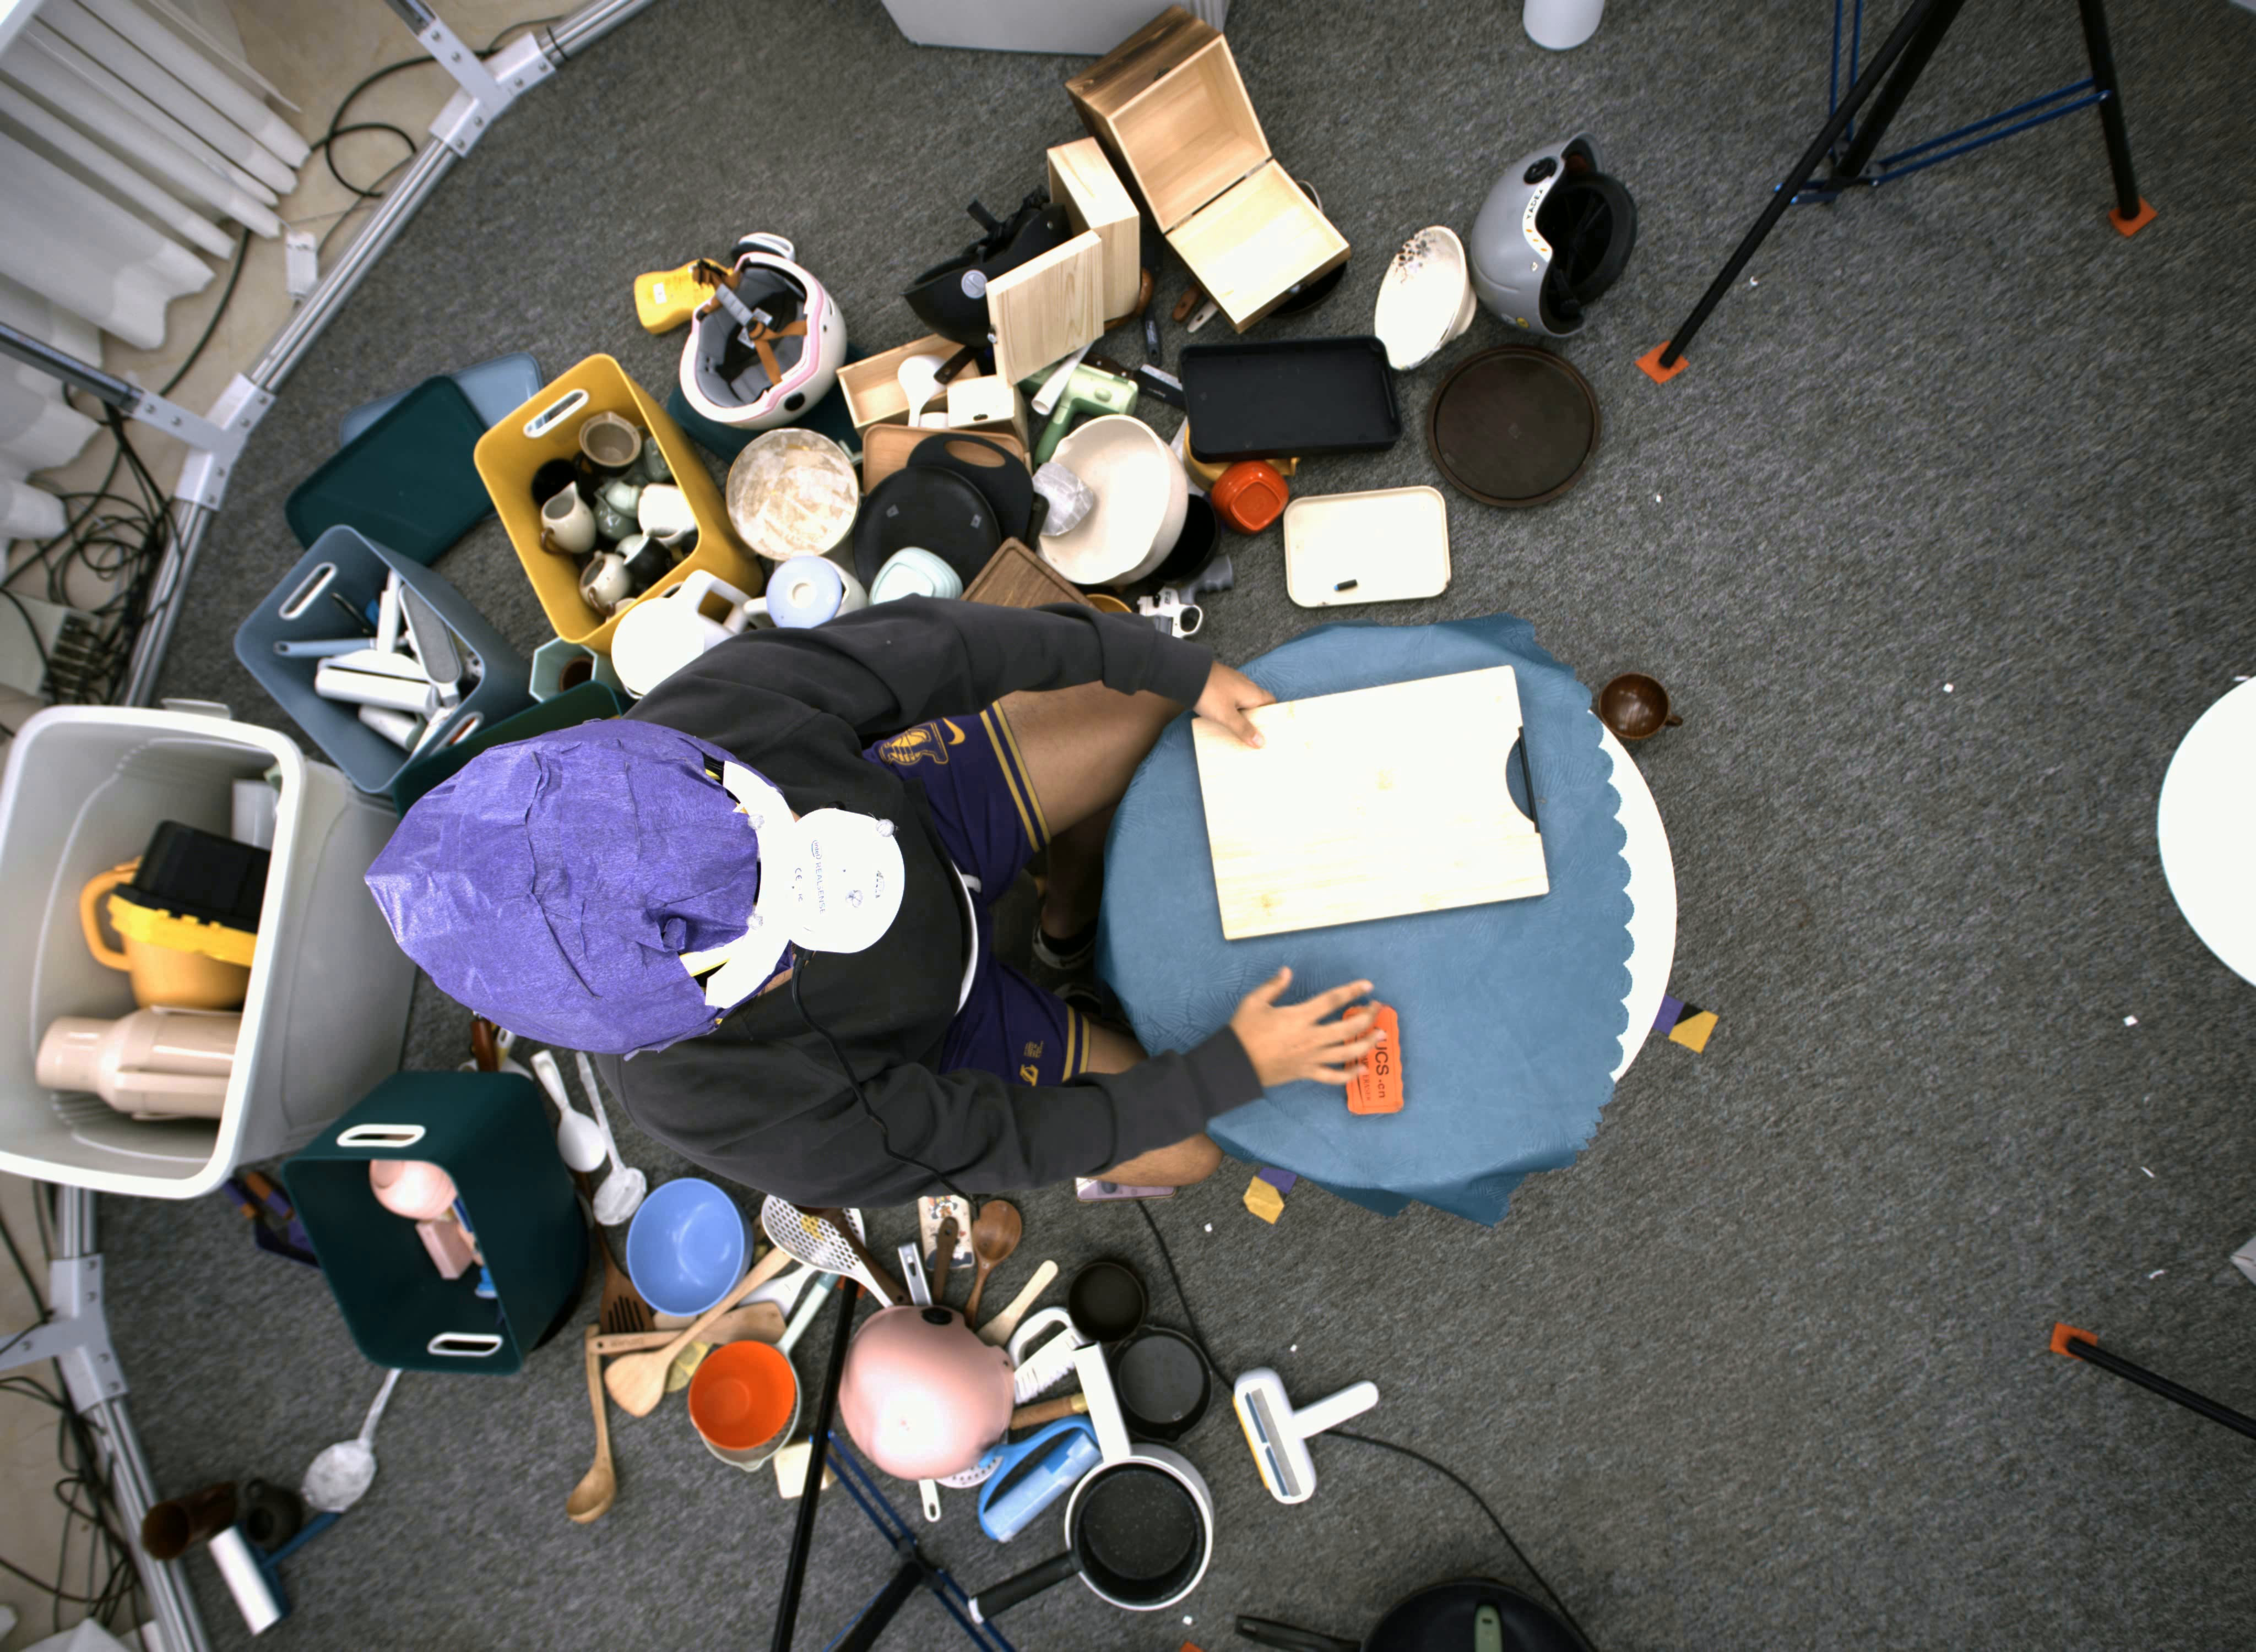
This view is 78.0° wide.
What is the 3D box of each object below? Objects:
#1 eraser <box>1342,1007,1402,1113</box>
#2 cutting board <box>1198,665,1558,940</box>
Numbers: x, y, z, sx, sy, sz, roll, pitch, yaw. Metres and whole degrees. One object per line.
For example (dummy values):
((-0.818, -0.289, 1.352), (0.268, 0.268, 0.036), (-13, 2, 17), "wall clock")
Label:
((0.254, 0.242, 1.440), (0.059, 0.023, 0.107), (-3, 85, 10), "eraser")
((0.256, -0.024, 1.447), (0.350, 0.023, 0.250), (-10, 91, 10), "cutting board")
